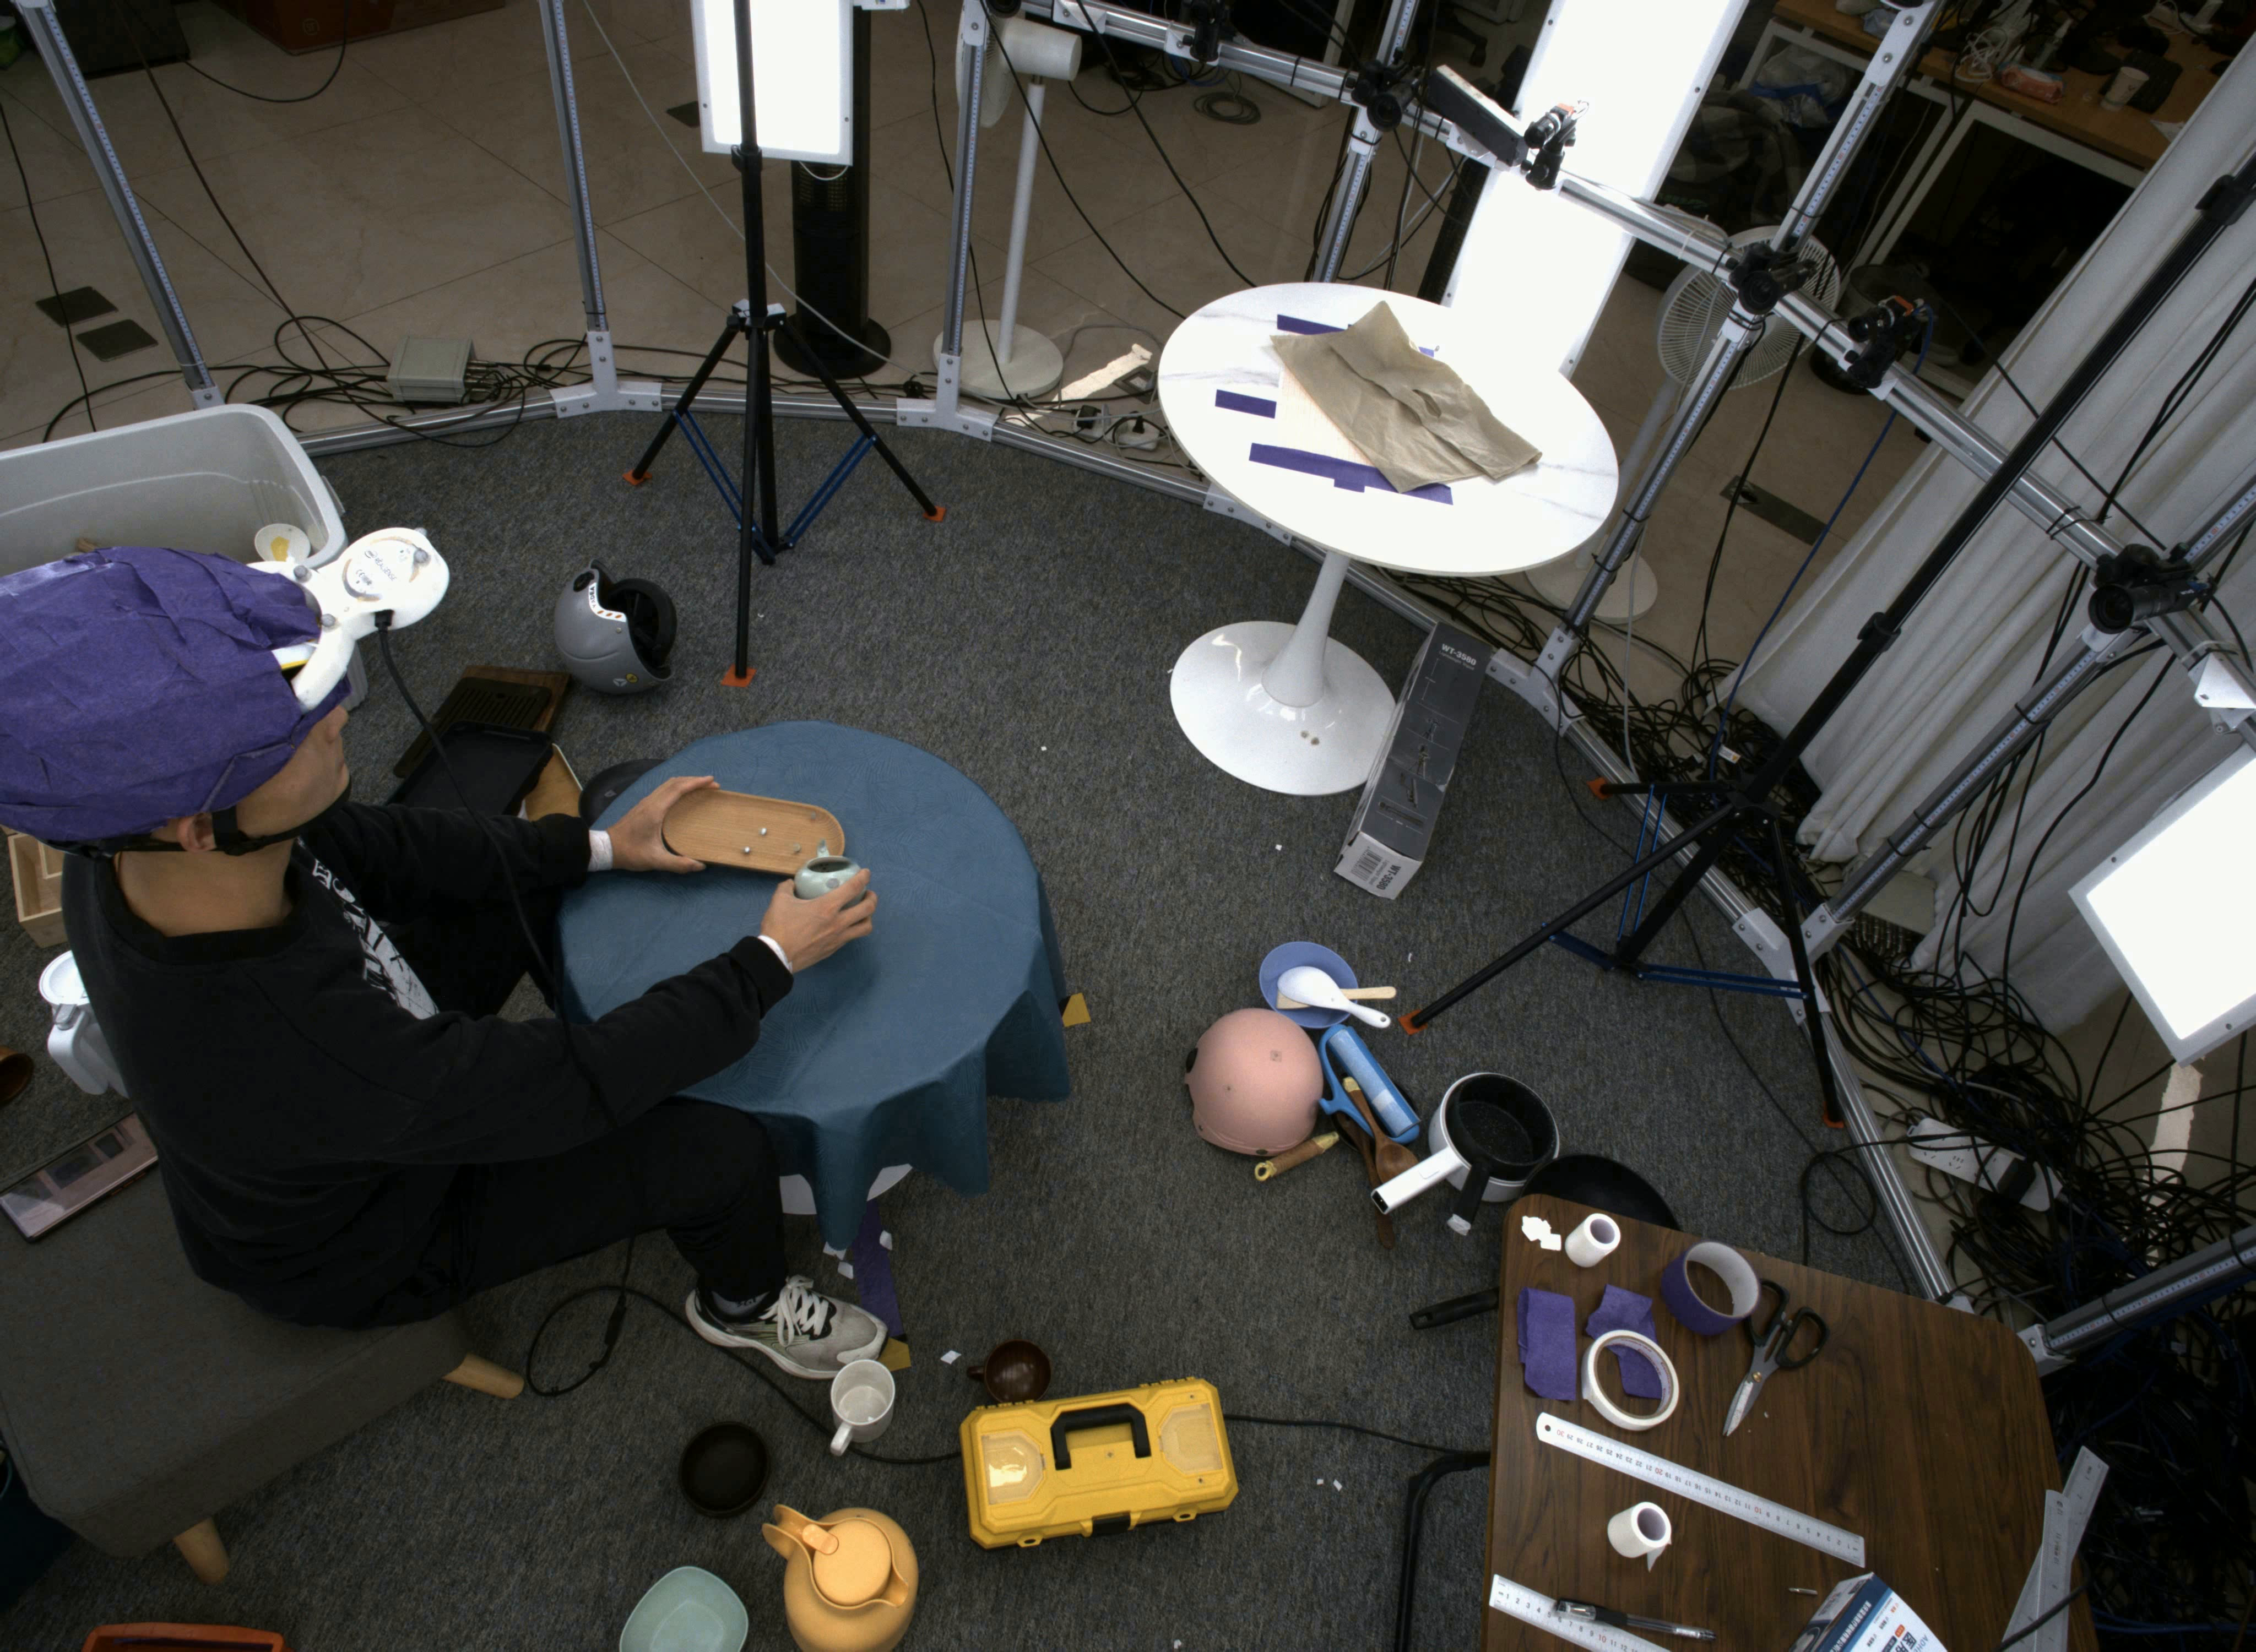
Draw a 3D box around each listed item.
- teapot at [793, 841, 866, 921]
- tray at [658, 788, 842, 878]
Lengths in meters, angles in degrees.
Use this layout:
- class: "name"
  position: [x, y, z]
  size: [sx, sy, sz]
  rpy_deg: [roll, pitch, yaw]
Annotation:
- class: "teapot"
  position: [-0.363, 0.071, 1.576]
  size: [0.088, 0.077, 0.139]
  rpy_deg: [-7, 20, -17]
- class: "tray"
  position: [-0.482, 0.009, 1.654]
  size: [0.233, 0.020, 0.100]
  rpy_deg: [9, 65, -20]
